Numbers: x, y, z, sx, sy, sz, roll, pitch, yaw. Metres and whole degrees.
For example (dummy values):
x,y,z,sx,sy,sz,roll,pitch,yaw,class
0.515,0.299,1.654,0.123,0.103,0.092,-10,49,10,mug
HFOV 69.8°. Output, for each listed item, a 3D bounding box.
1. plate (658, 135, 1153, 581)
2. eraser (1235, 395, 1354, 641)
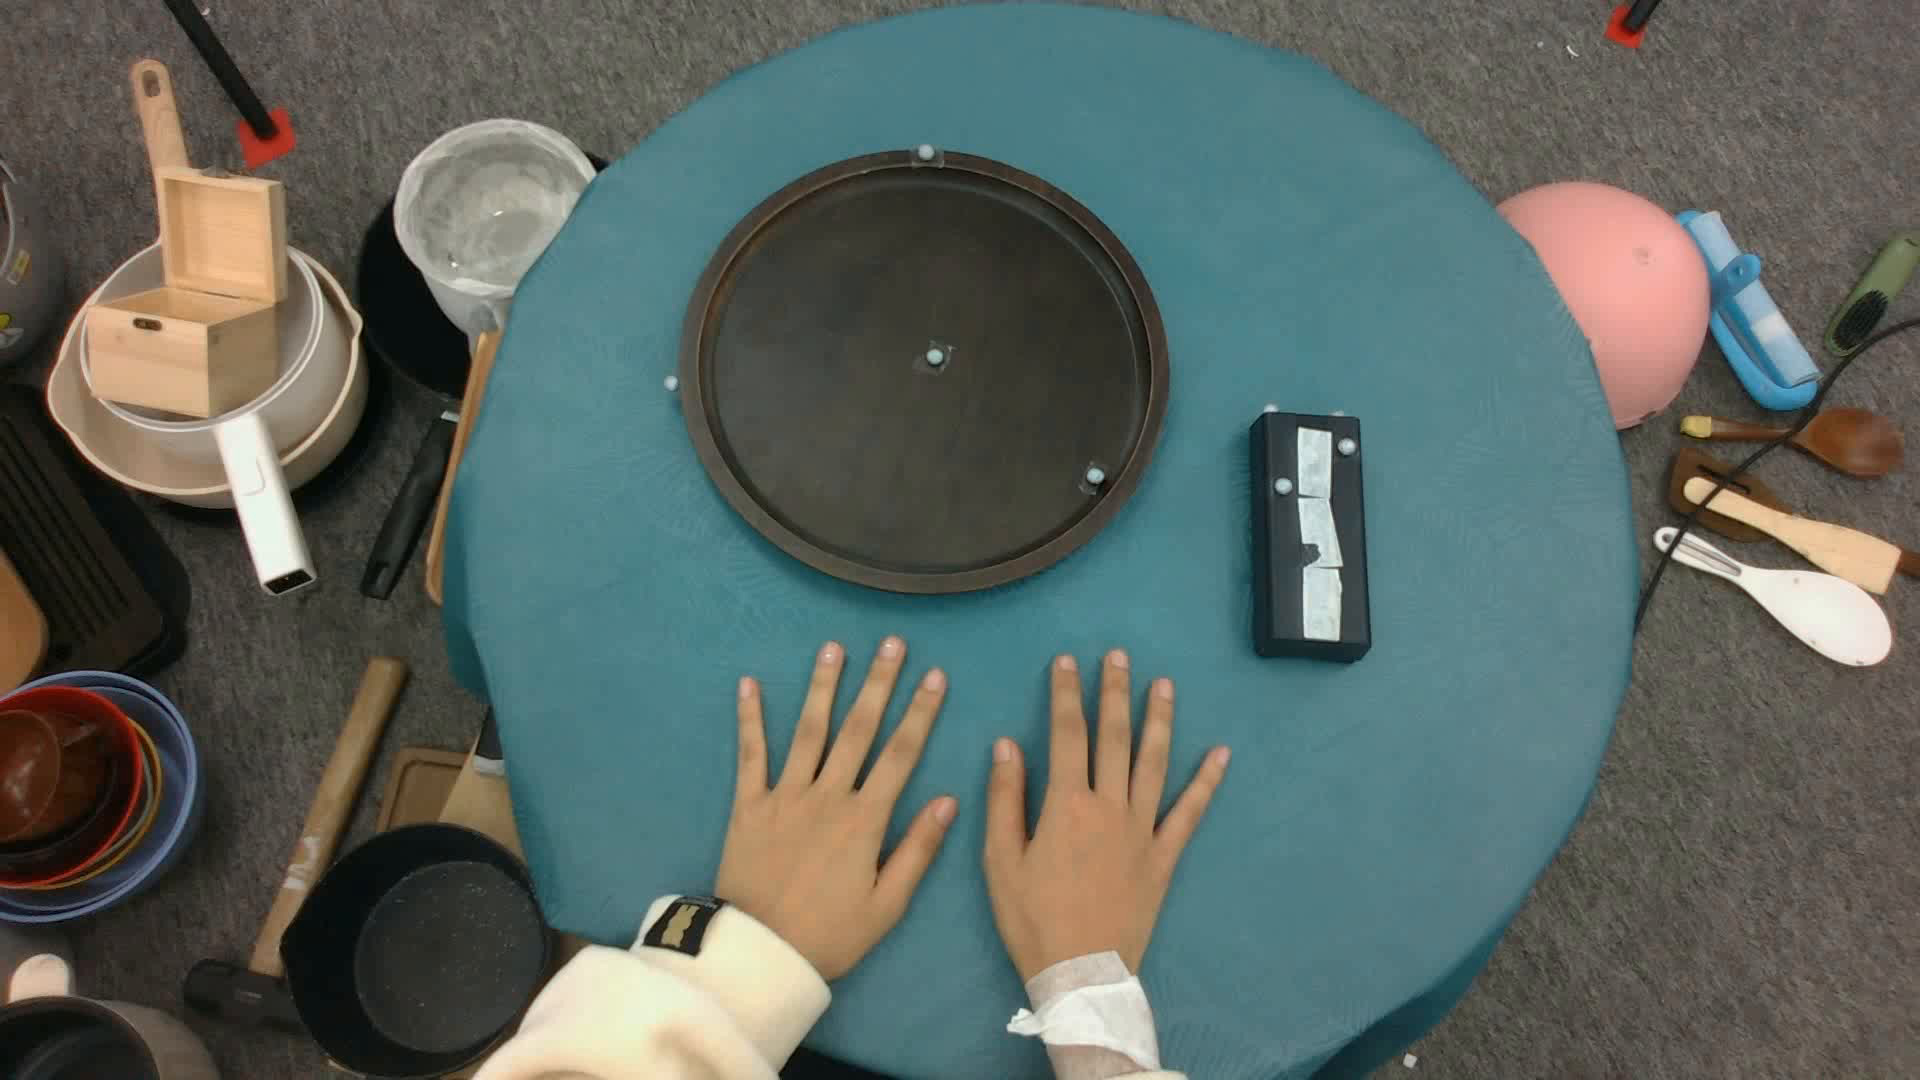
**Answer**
x,y,z,sx,sy,sz,roll,pitch,yaw,class
-0.027,-0.097,0.711,0.255,0.029,0.255,2,69,-4,plate
0.166,-0.012,0.693,0.053,0.030,0.126,3,72,-1,eraser
